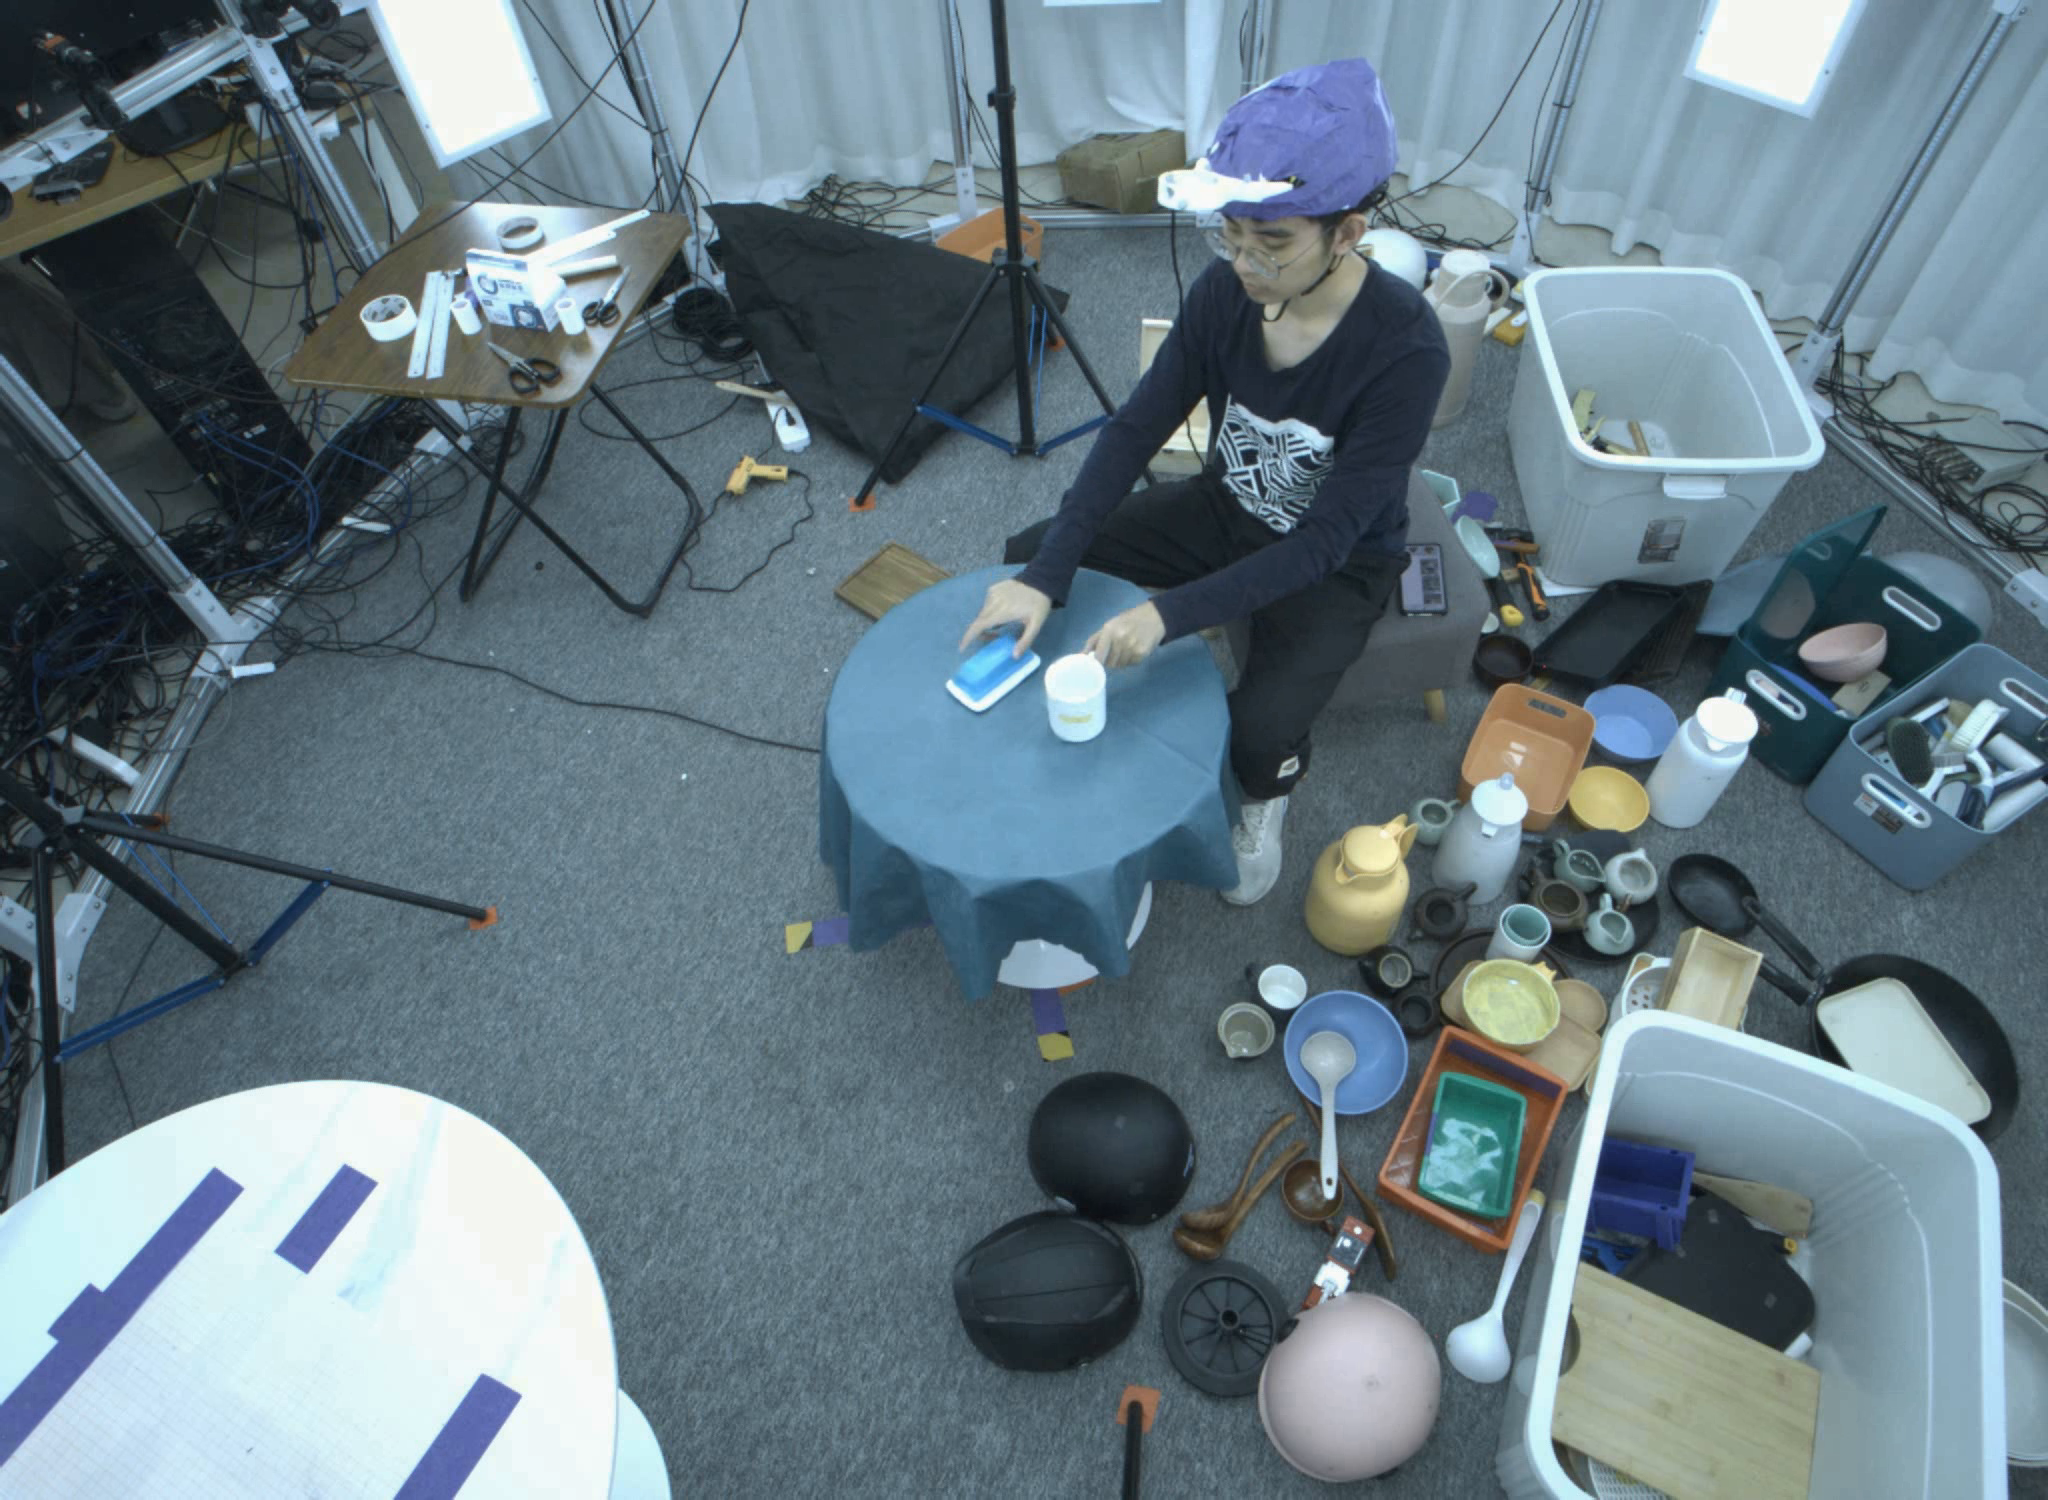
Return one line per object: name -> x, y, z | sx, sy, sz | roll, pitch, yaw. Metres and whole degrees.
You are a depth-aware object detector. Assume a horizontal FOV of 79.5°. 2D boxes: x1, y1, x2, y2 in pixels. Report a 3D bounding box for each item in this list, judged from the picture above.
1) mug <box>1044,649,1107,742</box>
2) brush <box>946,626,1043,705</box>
mug -> 0.081, -0.085, 1.773 | 0.084, 0.103, 0.118 | 17, 58, 17
brush -> -0.044, -0.135, 1.840 | 0.145, 0.056, 0.082 | -39, 65, -20
